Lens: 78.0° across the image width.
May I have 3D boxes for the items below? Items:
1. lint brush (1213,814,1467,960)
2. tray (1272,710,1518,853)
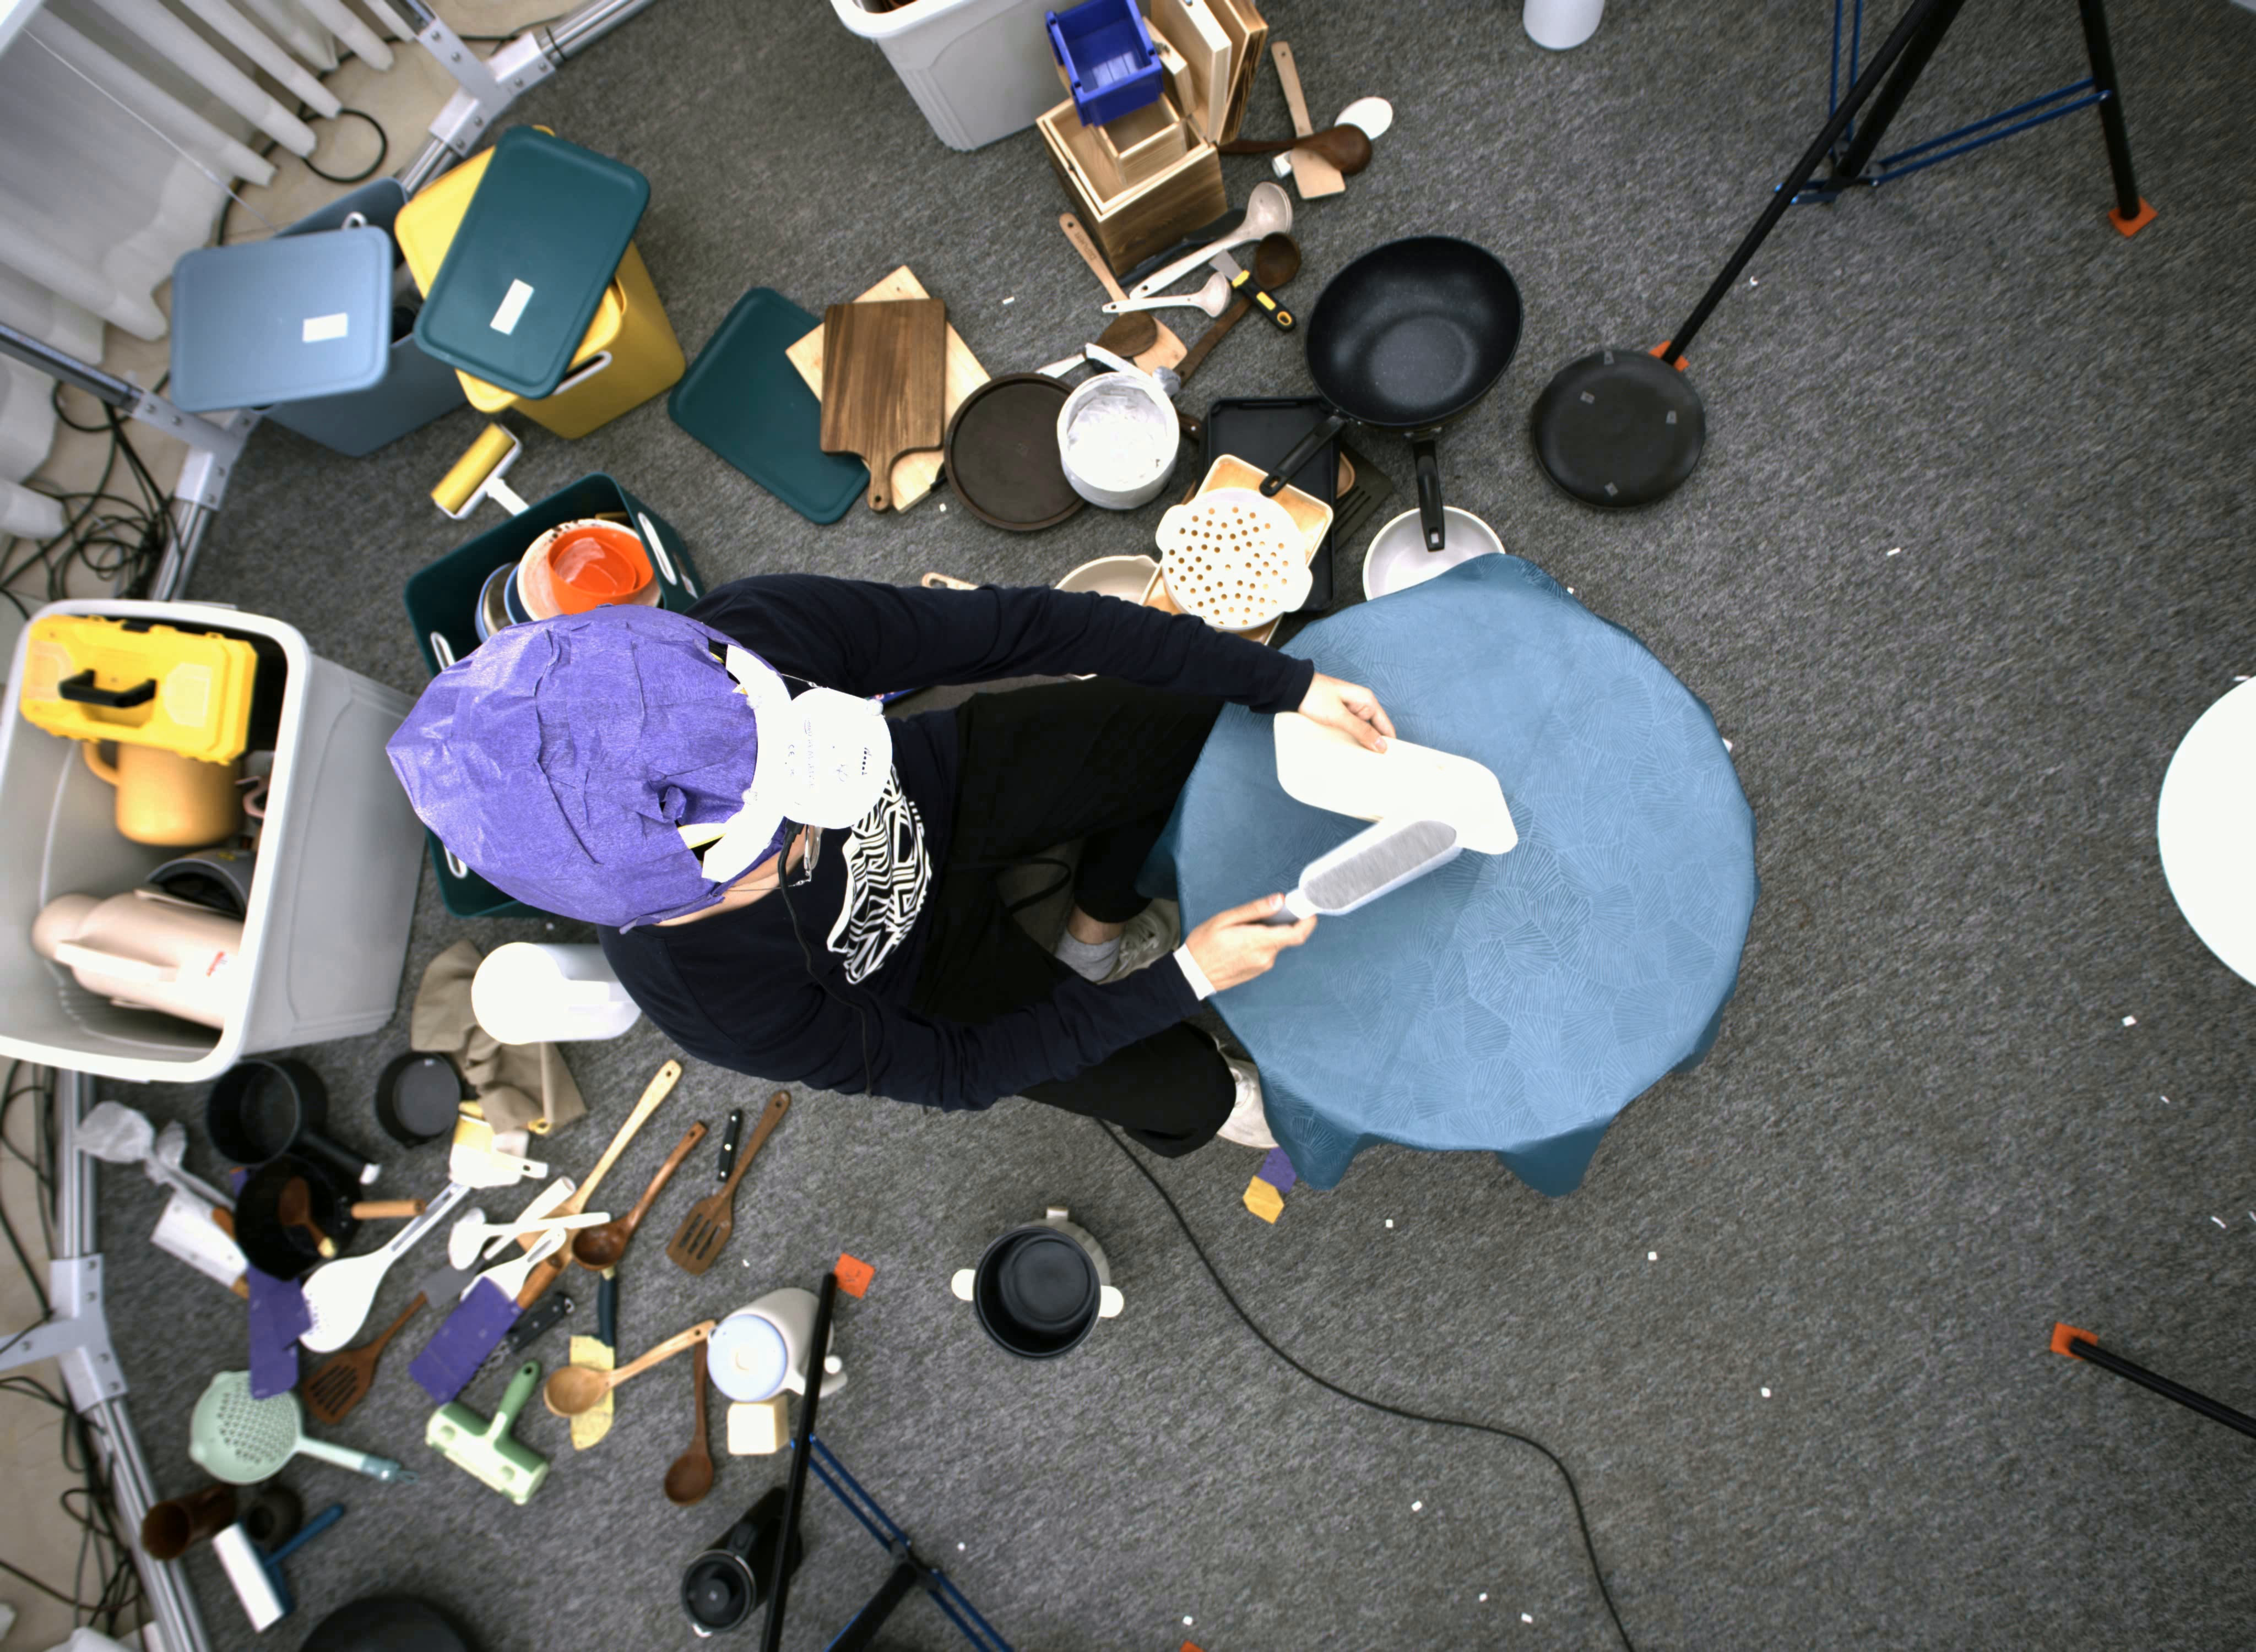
[{"bbox_3d":[0.188,0.063,1.292,0.060,0.020,0.315,37,136,-21],"label":"lint brush"},{"bbox_3d":[0.255,-0.045,1.339,0.240,0.167,0.018,14,123,-6],"label":"tray"}]
